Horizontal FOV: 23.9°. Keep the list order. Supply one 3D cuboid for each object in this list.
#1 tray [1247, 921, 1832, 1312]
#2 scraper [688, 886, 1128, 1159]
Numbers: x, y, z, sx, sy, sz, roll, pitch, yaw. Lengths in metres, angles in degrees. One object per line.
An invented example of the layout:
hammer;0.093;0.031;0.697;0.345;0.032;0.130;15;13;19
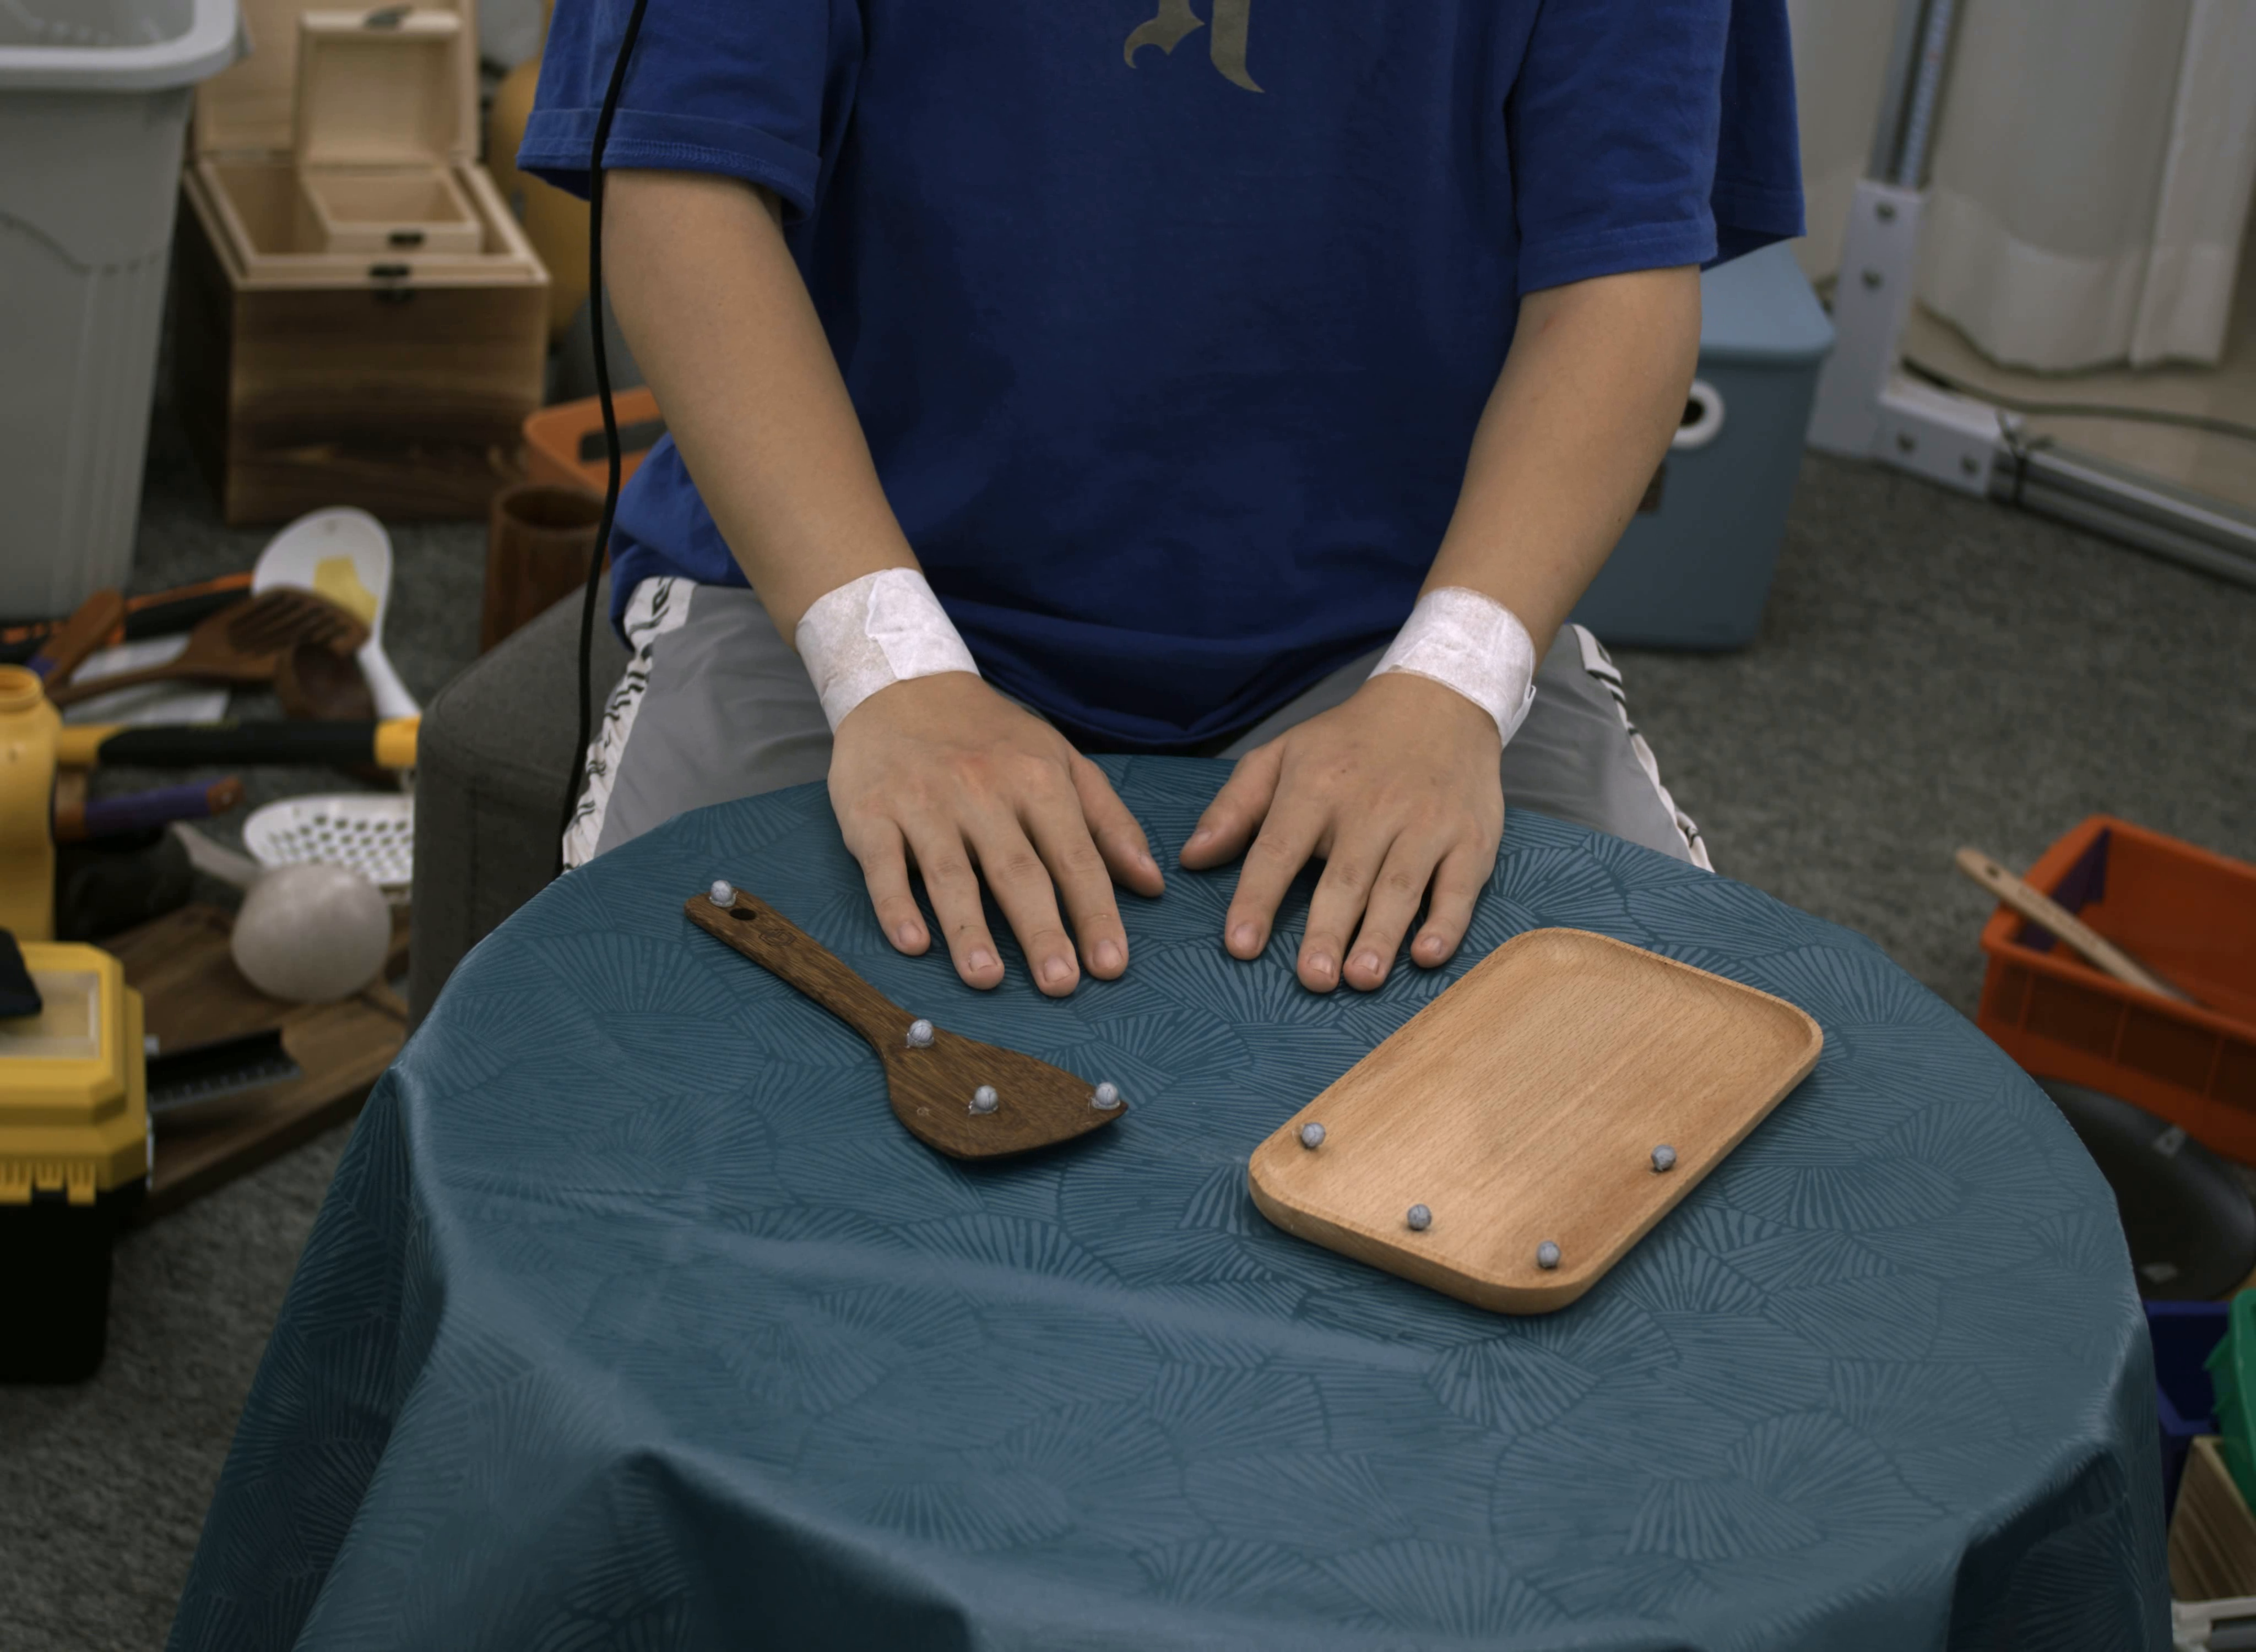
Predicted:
tray;0.147;0.099;1.865;0.131;0.023;0.250;23;30;24
scraper;-0.088;0.068;1.885;0.075;0.011;0.213;-14;32;-37
